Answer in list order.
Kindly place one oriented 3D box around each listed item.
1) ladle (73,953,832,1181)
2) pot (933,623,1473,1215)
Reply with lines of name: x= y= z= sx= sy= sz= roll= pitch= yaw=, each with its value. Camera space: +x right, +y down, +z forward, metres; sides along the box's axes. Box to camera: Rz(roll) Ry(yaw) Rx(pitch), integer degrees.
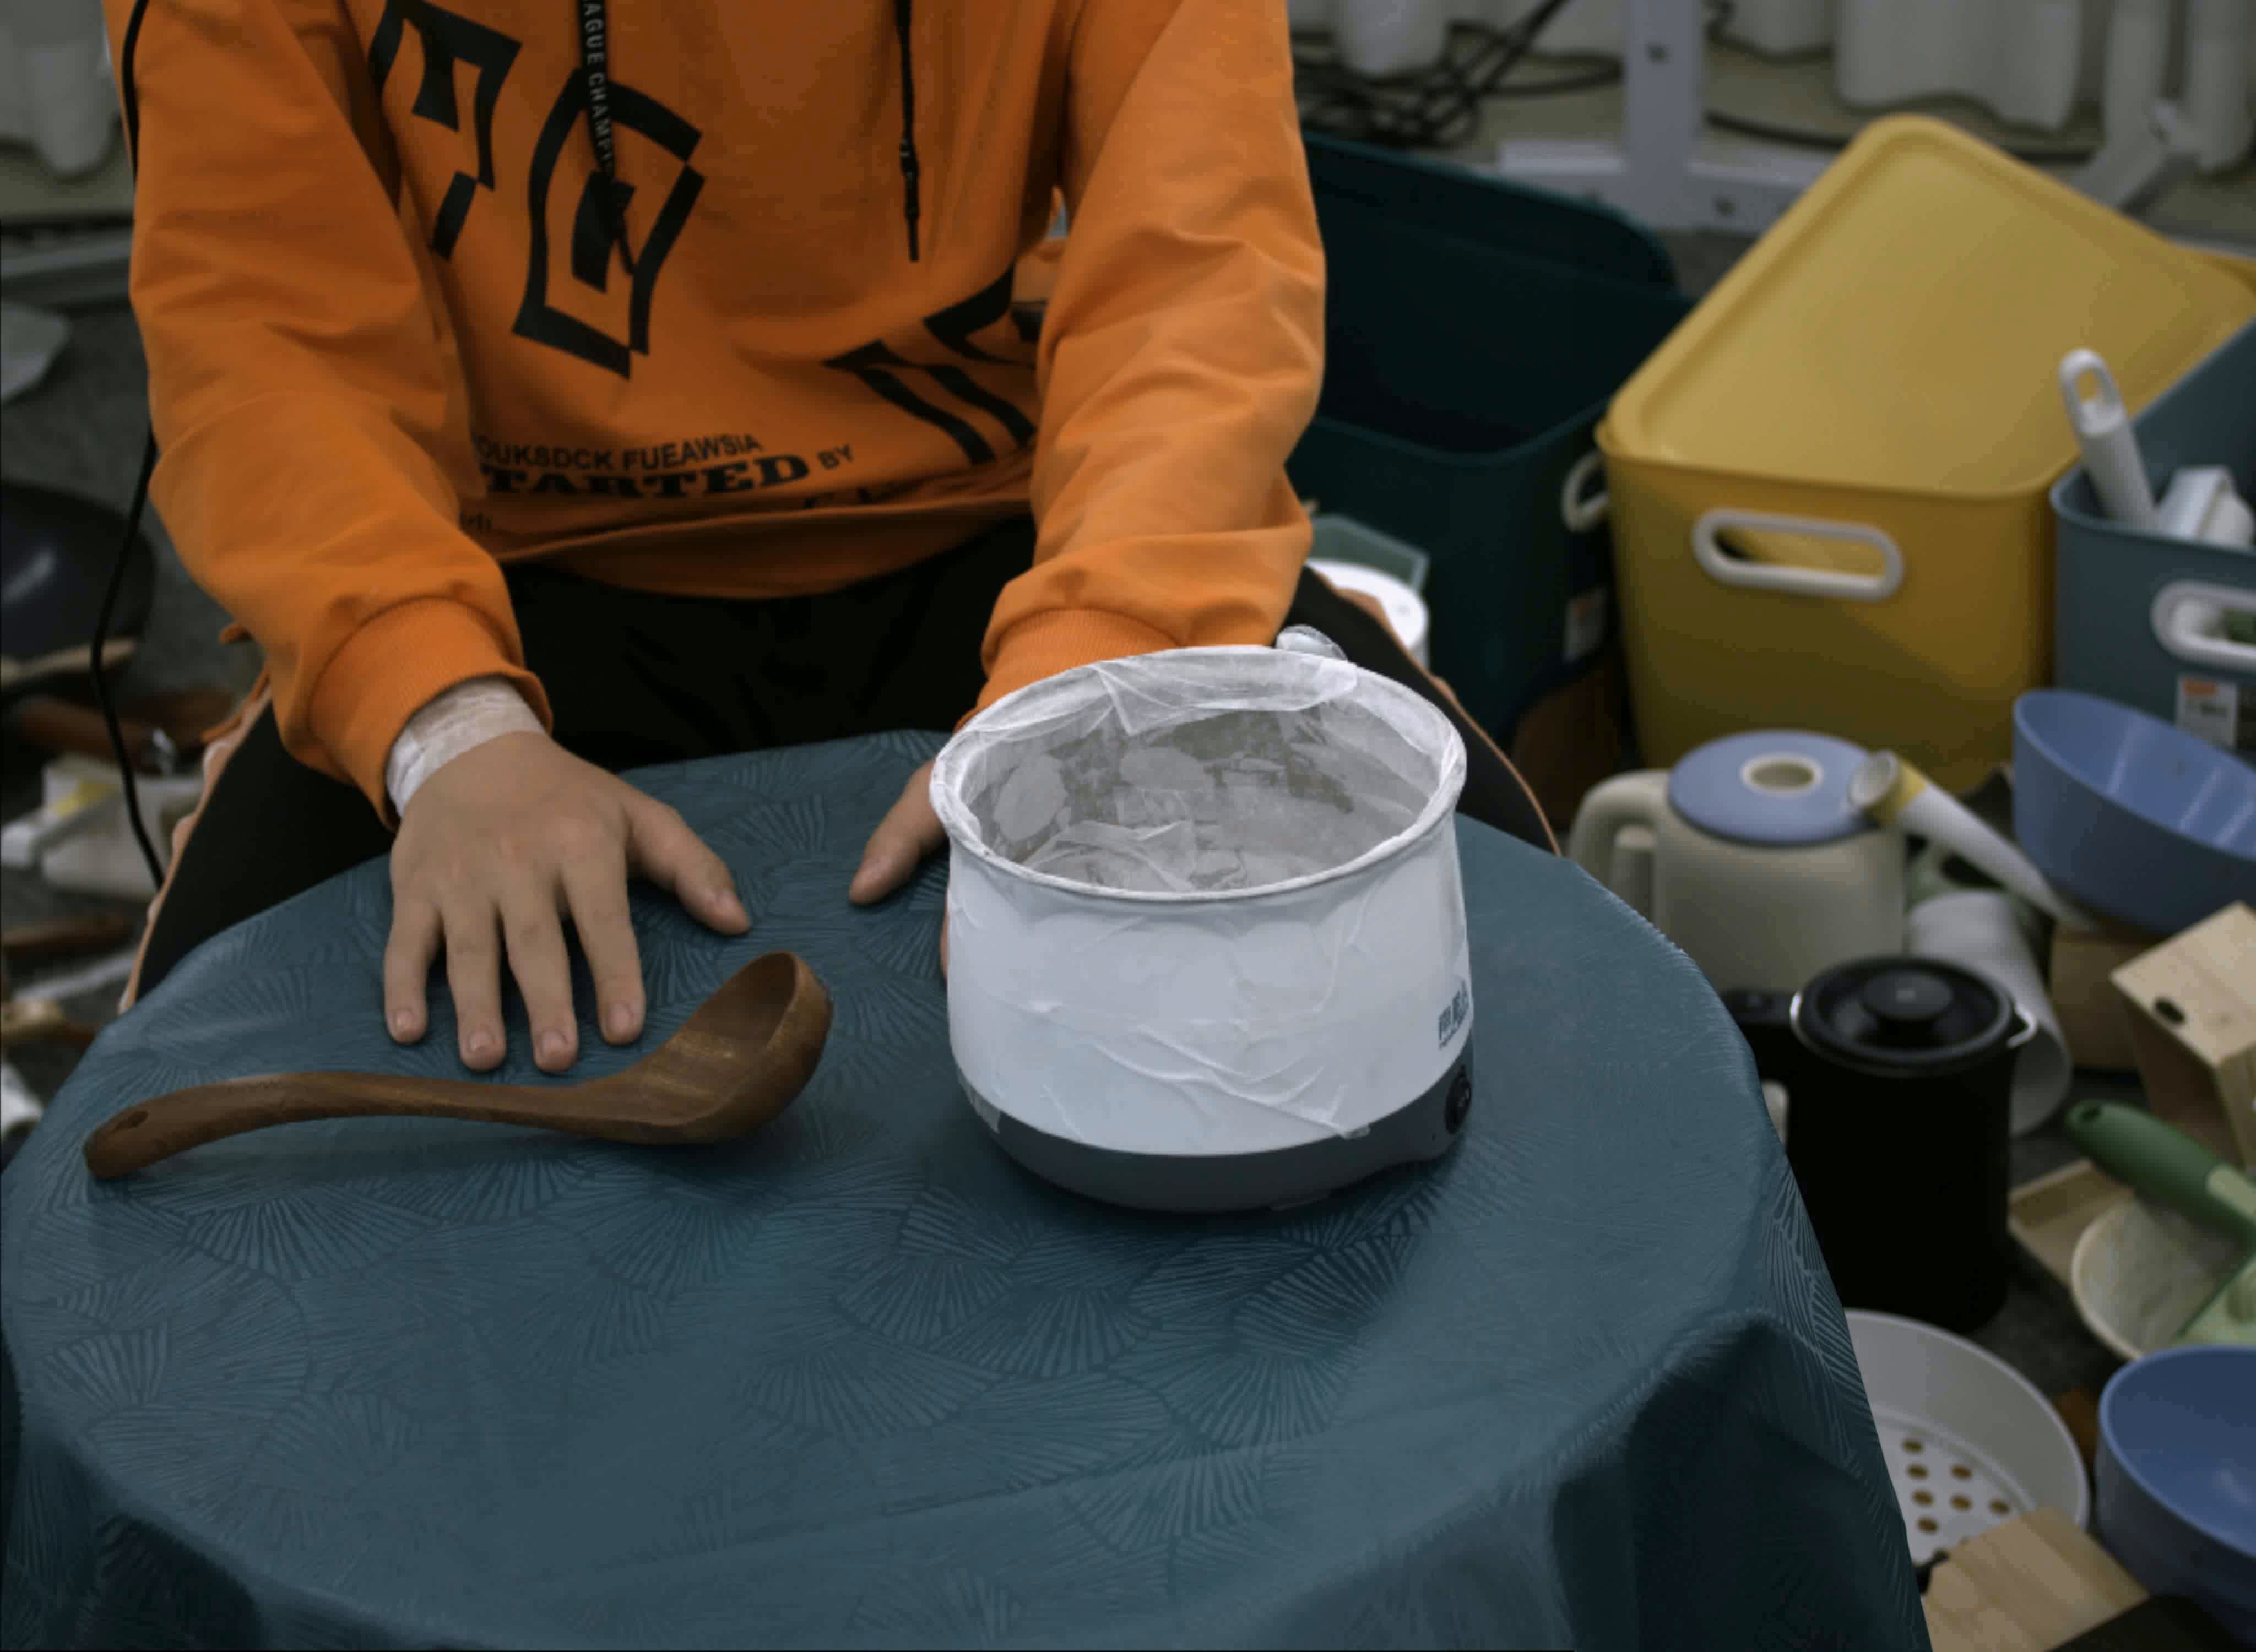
ladle: x=-0.228 y=0.083 z=1.891 sx=0.259 sy=0.064 sz=0.077 roll=-3 pitch=24 yaw=0
pot: x=0.036 y=0.024 z=1.899 sx=0.177 sy=0.135 sz=0.238 roll=7 pitch=29 yaw=18
